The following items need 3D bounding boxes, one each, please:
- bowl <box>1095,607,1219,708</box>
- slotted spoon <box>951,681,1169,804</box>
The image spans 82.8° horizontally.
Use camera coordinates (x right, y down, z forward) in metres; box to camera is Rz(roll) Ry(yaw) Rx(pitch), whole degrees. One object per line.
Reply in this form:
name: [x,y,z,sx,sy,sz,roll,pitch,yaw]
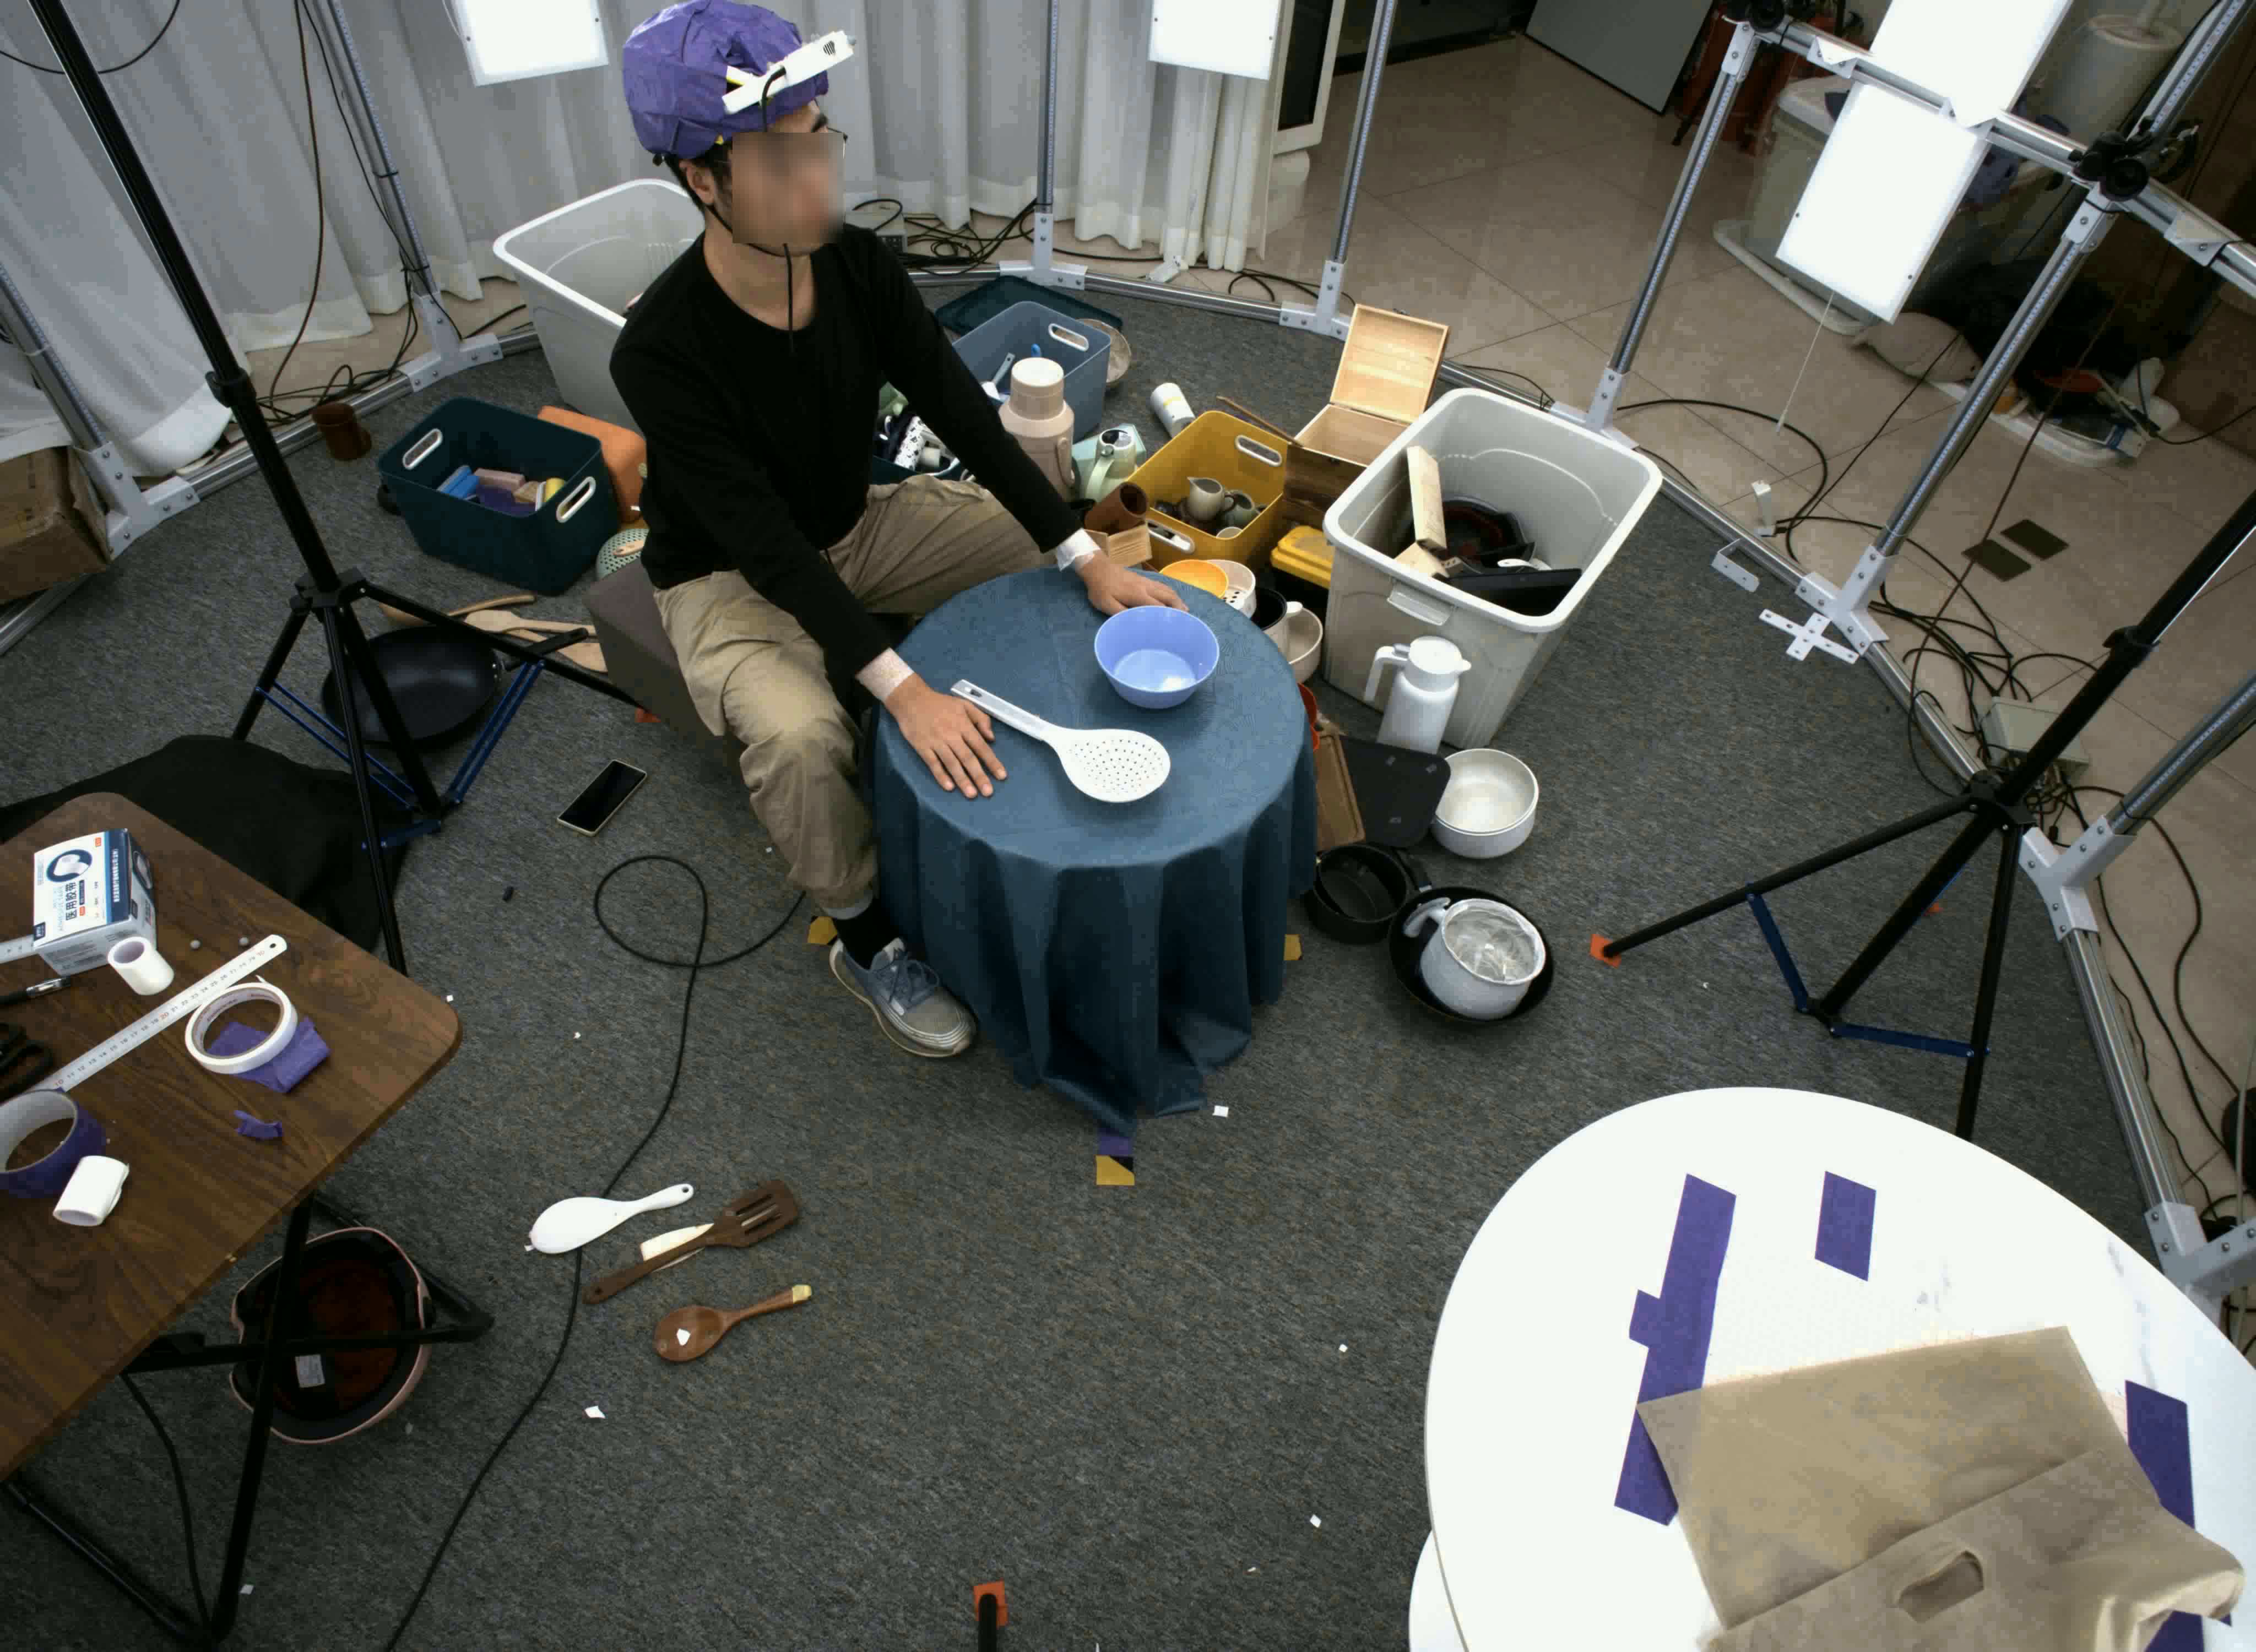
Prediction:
bowl: [0.039,-0.232,1.828,0.176,0.068,0.180,2,48,-2]
slotted spoon: [-0.101,-0.121,1.739,0.353,0.044,0.138,30,54,22]
